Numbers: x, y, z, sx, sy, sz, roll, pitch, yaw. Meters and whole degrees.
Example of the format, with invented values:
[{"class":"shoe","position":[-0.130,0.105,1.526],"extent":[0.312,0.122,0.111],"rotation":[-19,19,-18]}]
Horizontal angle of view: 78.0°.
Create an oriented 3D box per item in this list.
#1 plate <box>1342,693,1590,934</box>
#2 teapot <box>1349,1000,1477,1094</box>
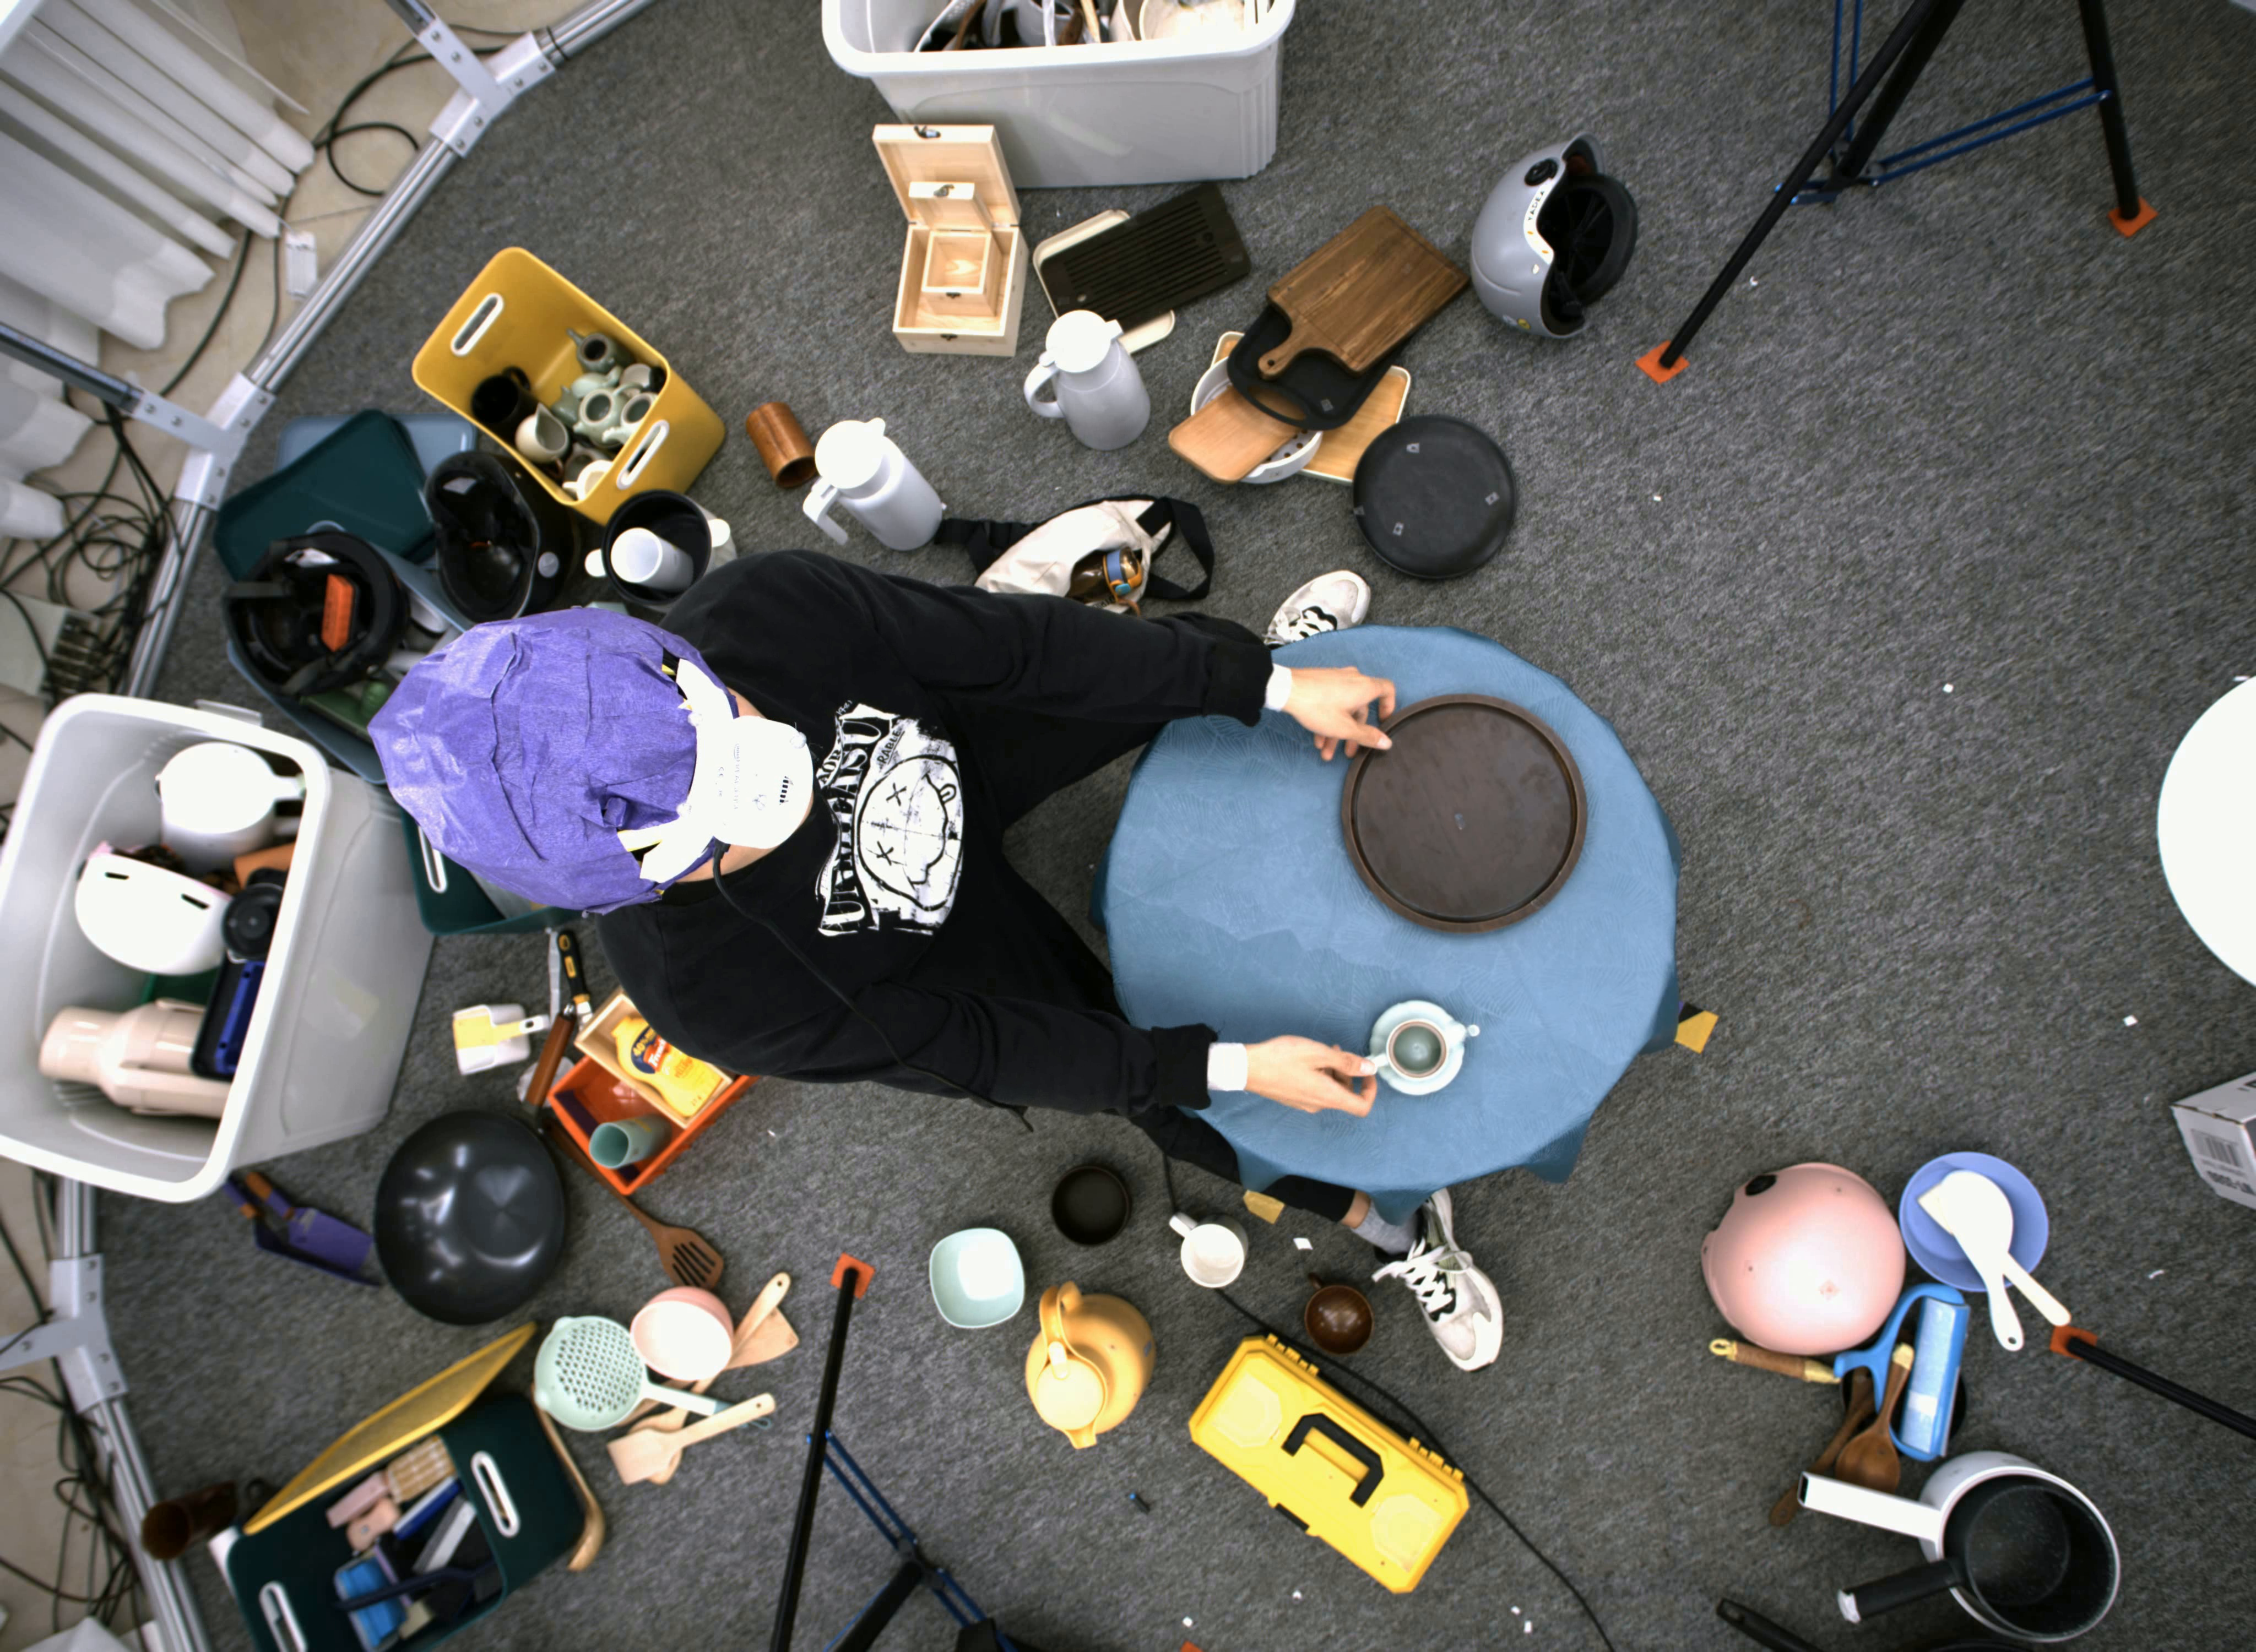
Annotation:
[{"class":"plate","position":[0.351,-0.015,1.438],"extent":[0.256,0.029,0.254],"rotation":[-1,88,10]},{"class":"teapot","position":[0.292,0.227,1.419],"extent":[0.138,0.061,0.095],"rotation":[-22,84,8]}]
